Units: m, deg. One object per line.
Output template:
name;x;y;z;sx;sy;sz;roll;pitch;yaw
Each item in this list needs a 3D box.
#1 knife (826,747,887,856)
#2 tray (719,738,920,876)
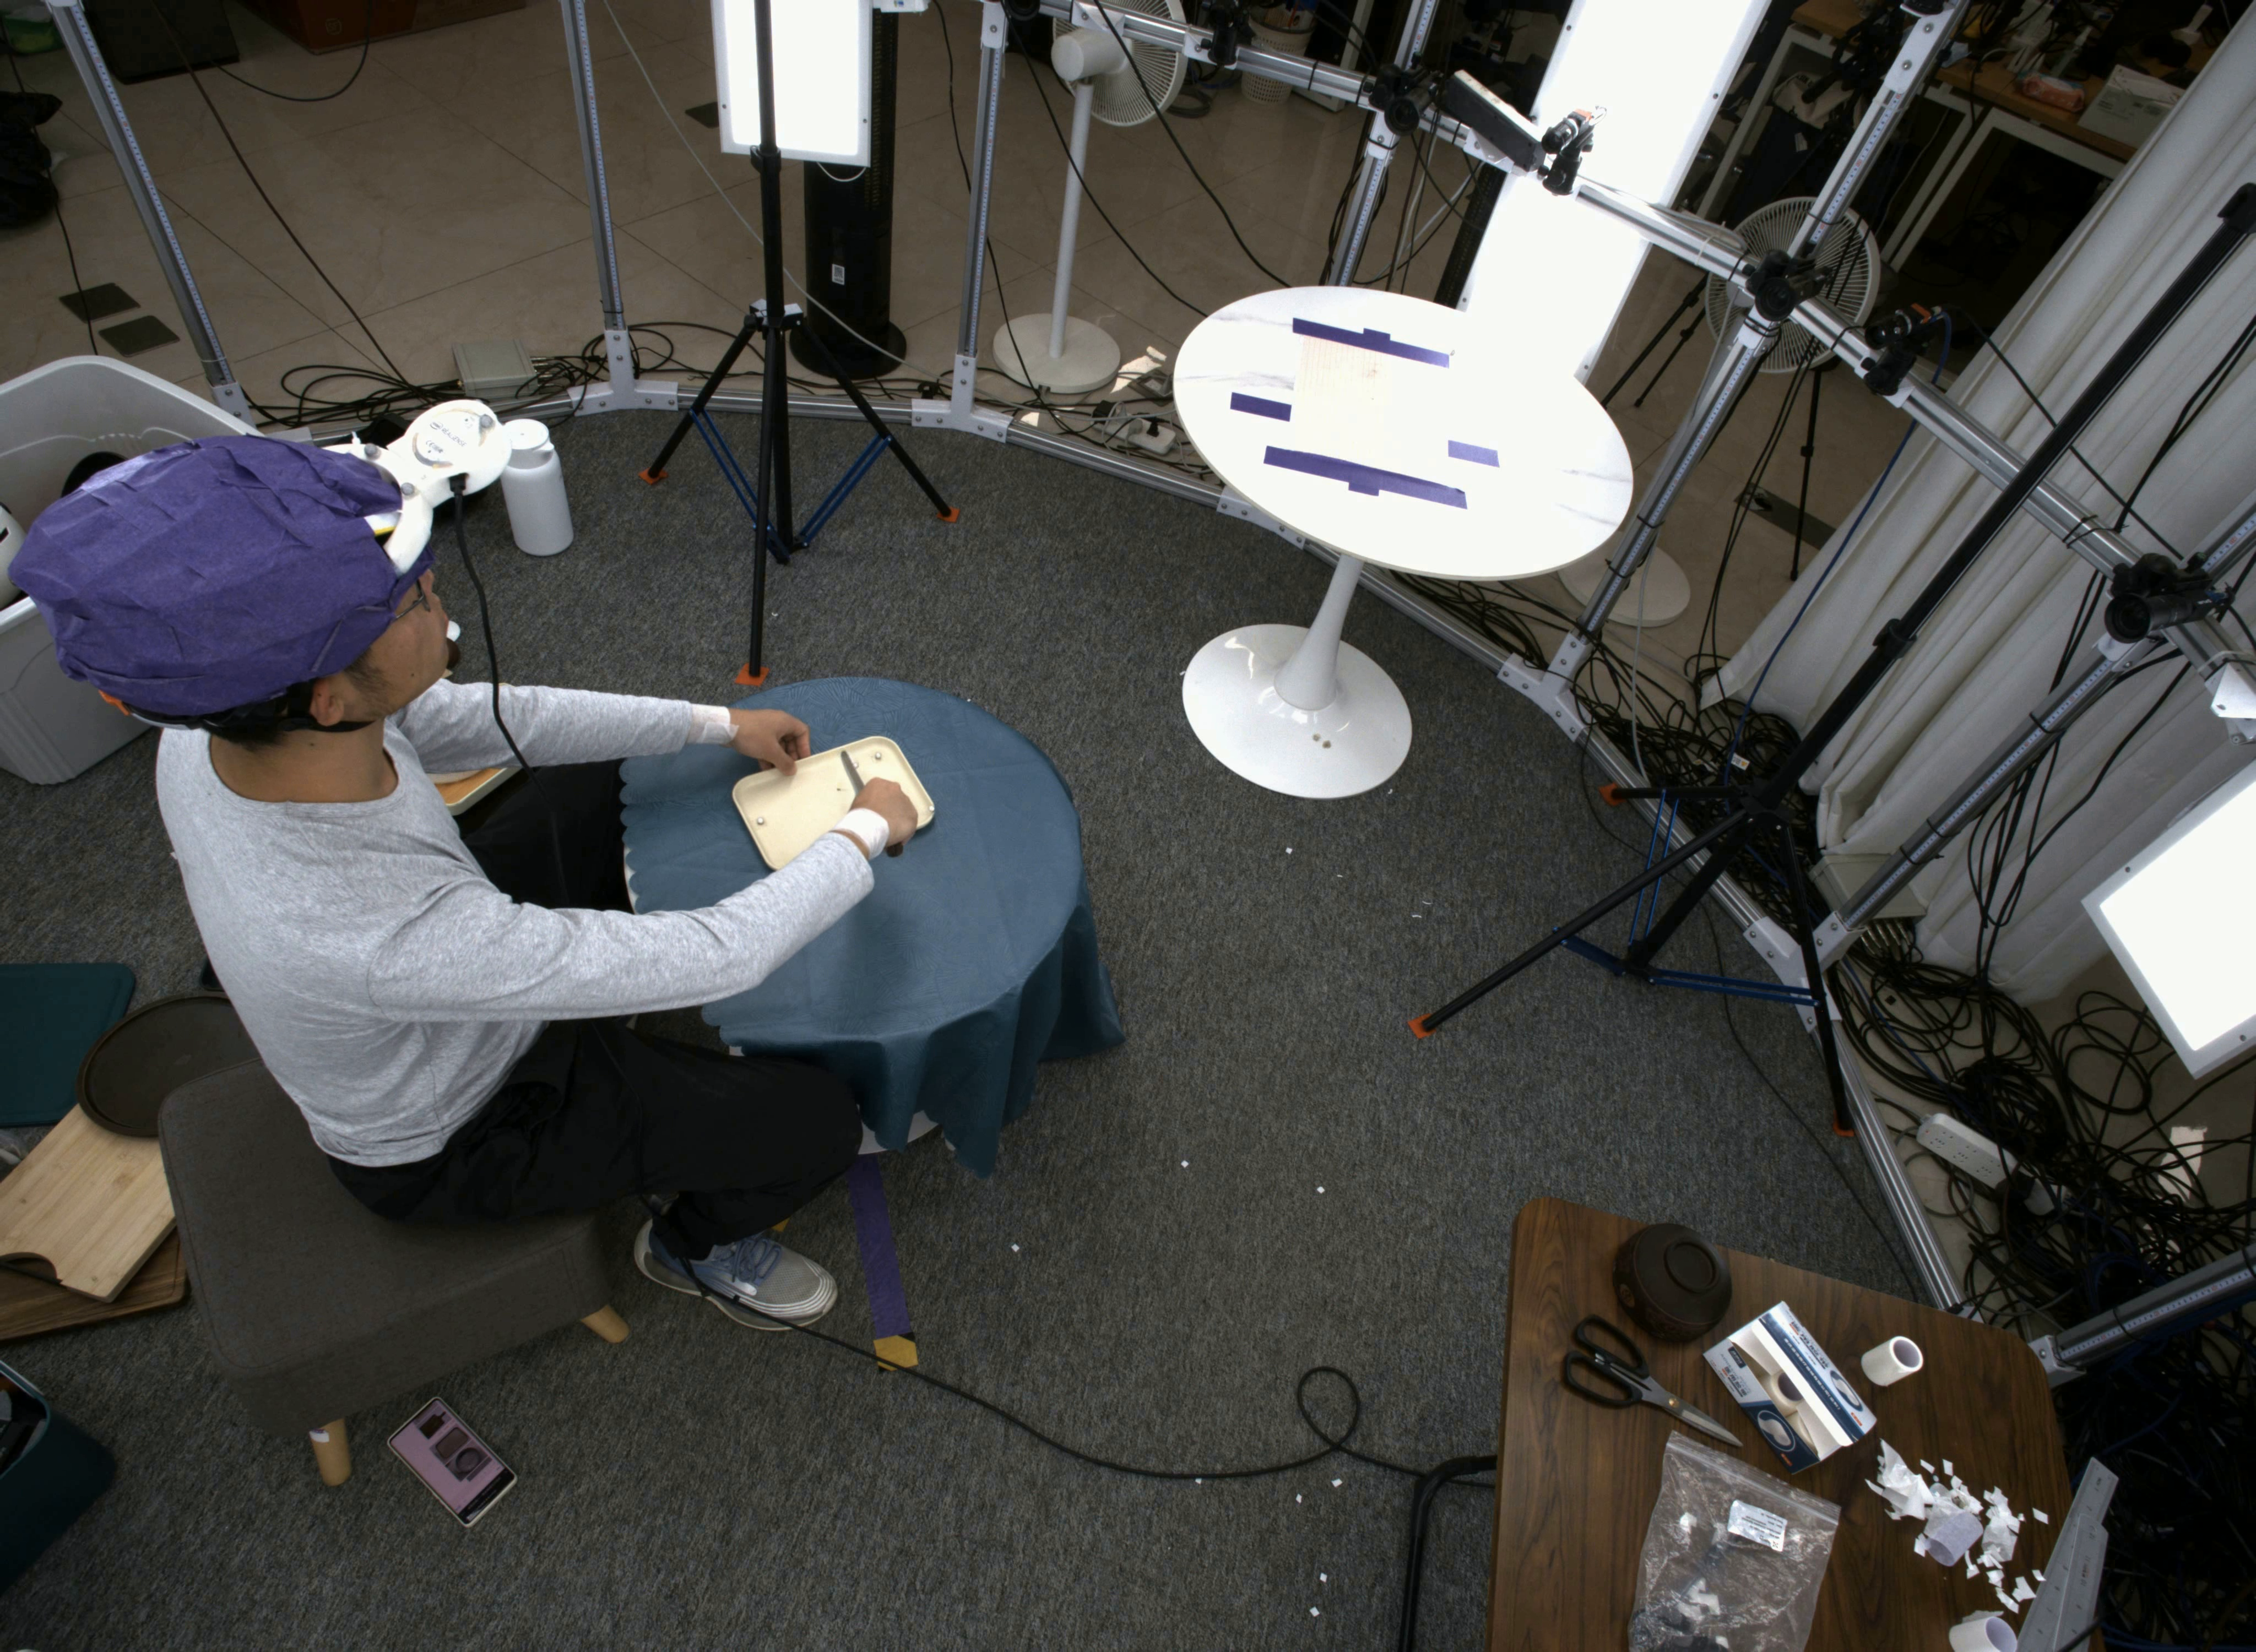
knife;-0.352;-0.036;1.650;0.020;0.052;0.278;-12;32;-22
tray;-0.414;-0.028;1.747;0.241;0.018;0.167;-22;62;-27
